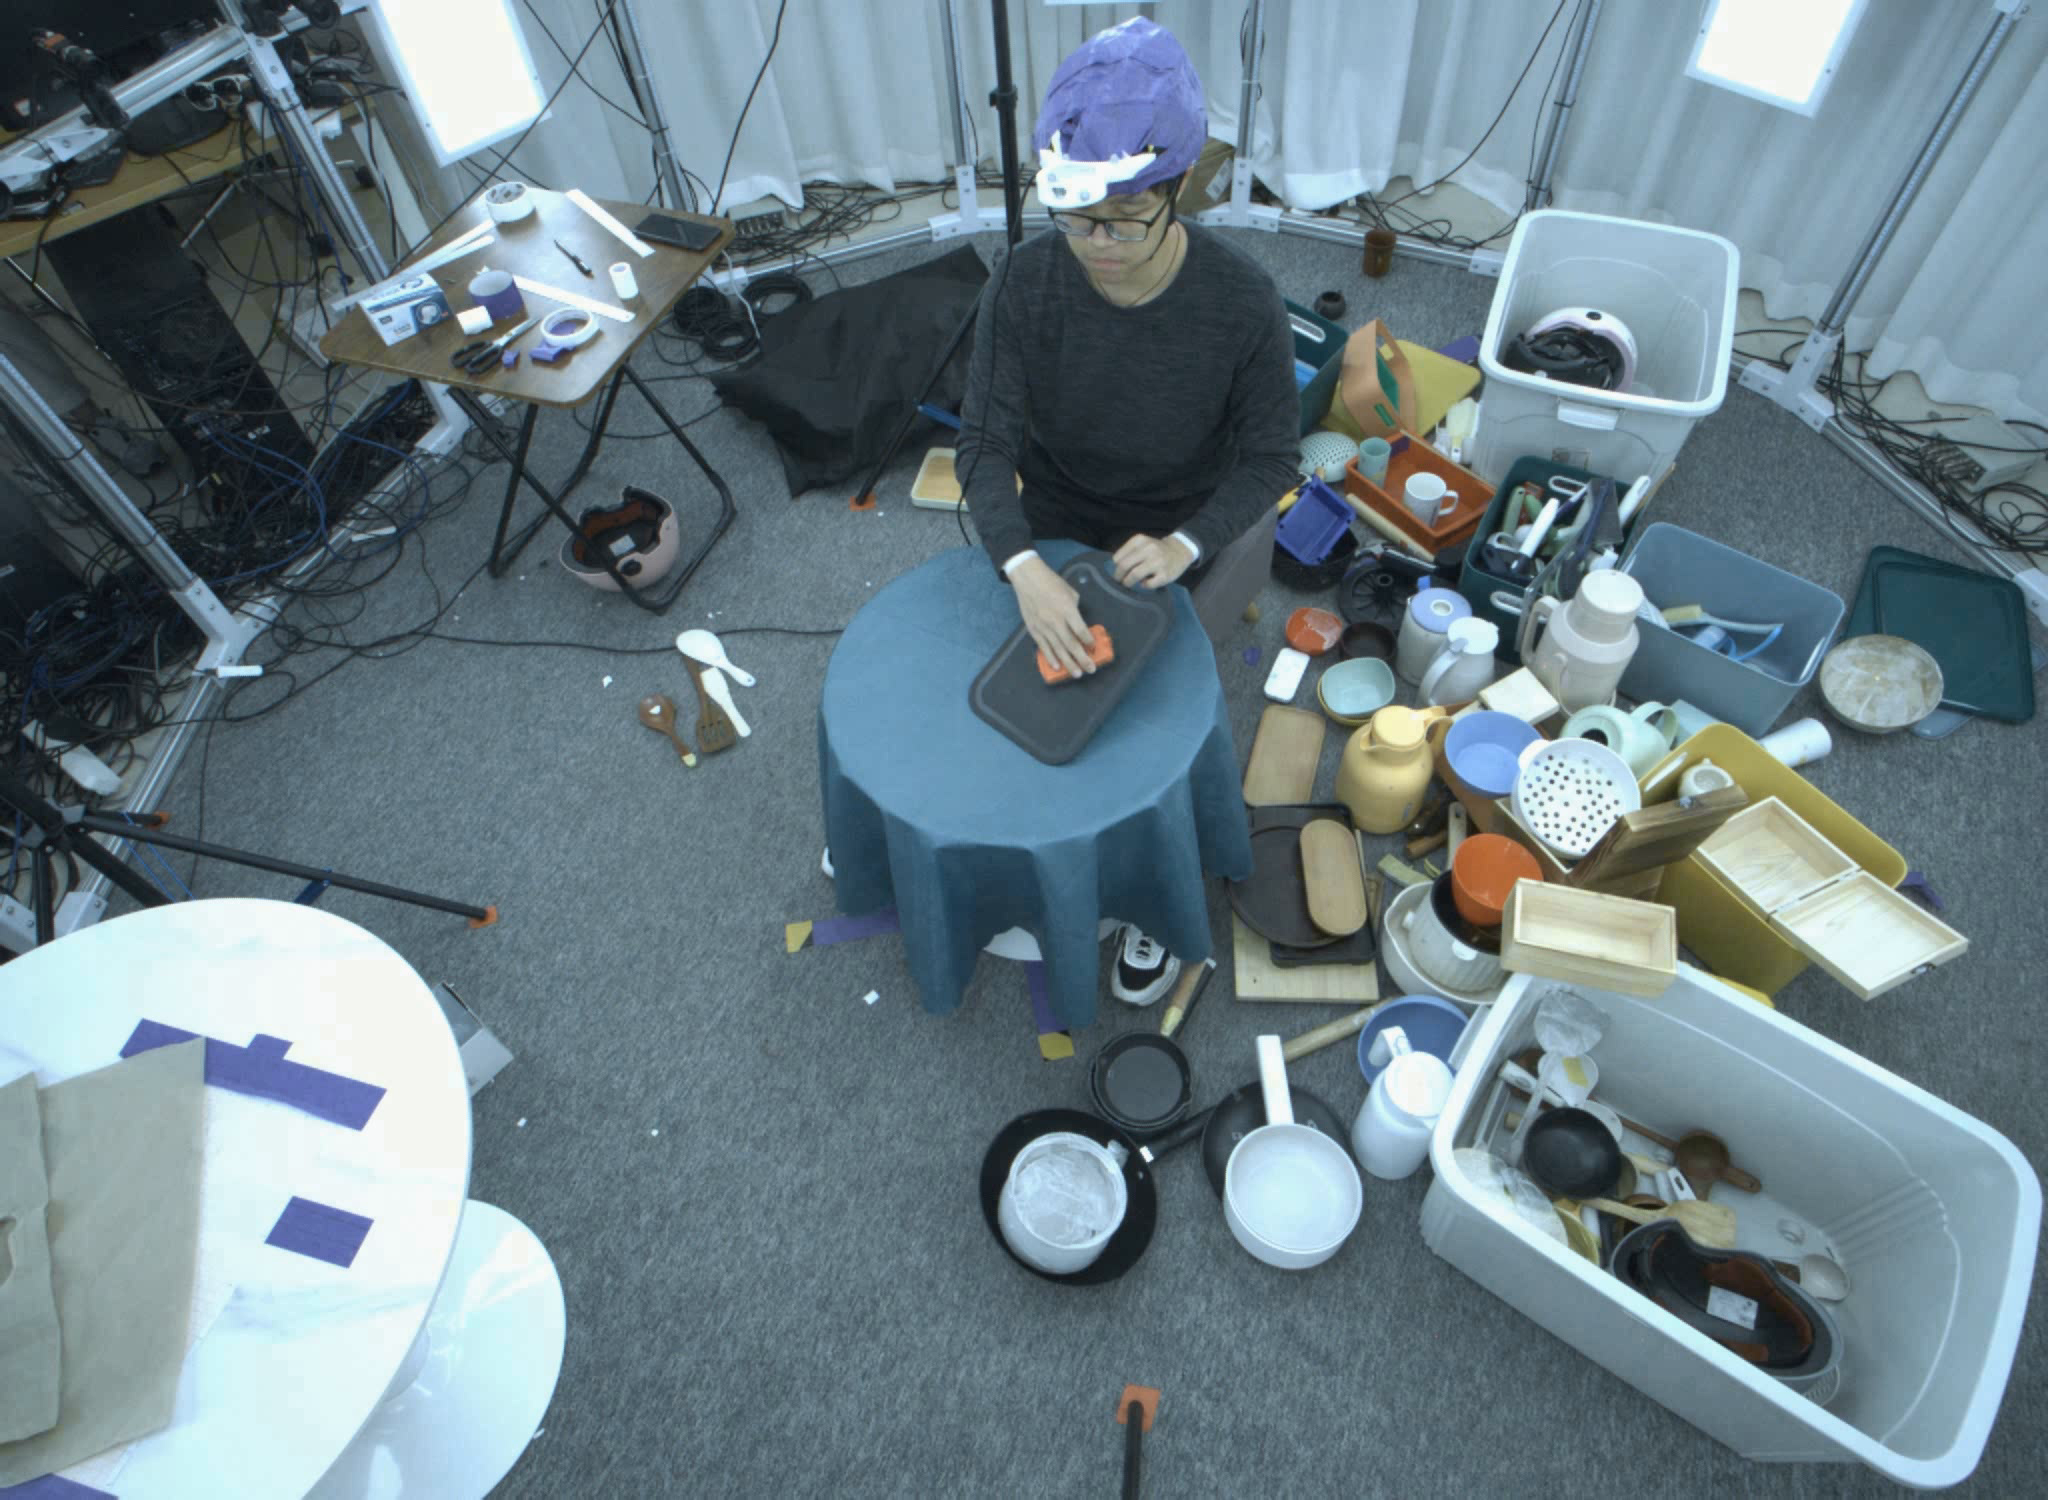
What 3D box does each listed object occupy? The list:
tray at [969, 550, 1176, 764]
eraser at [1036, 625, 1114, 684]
[{"bbox_3d":[0.073,-0.148,1.812,0.207,0.010,0.325,37,86,23],"label":"tray"},{"bbox_3d":[0.074,-0.140,1.800,0.107,0.023,0.058,-19,66,11],"label":"eraser"}]
